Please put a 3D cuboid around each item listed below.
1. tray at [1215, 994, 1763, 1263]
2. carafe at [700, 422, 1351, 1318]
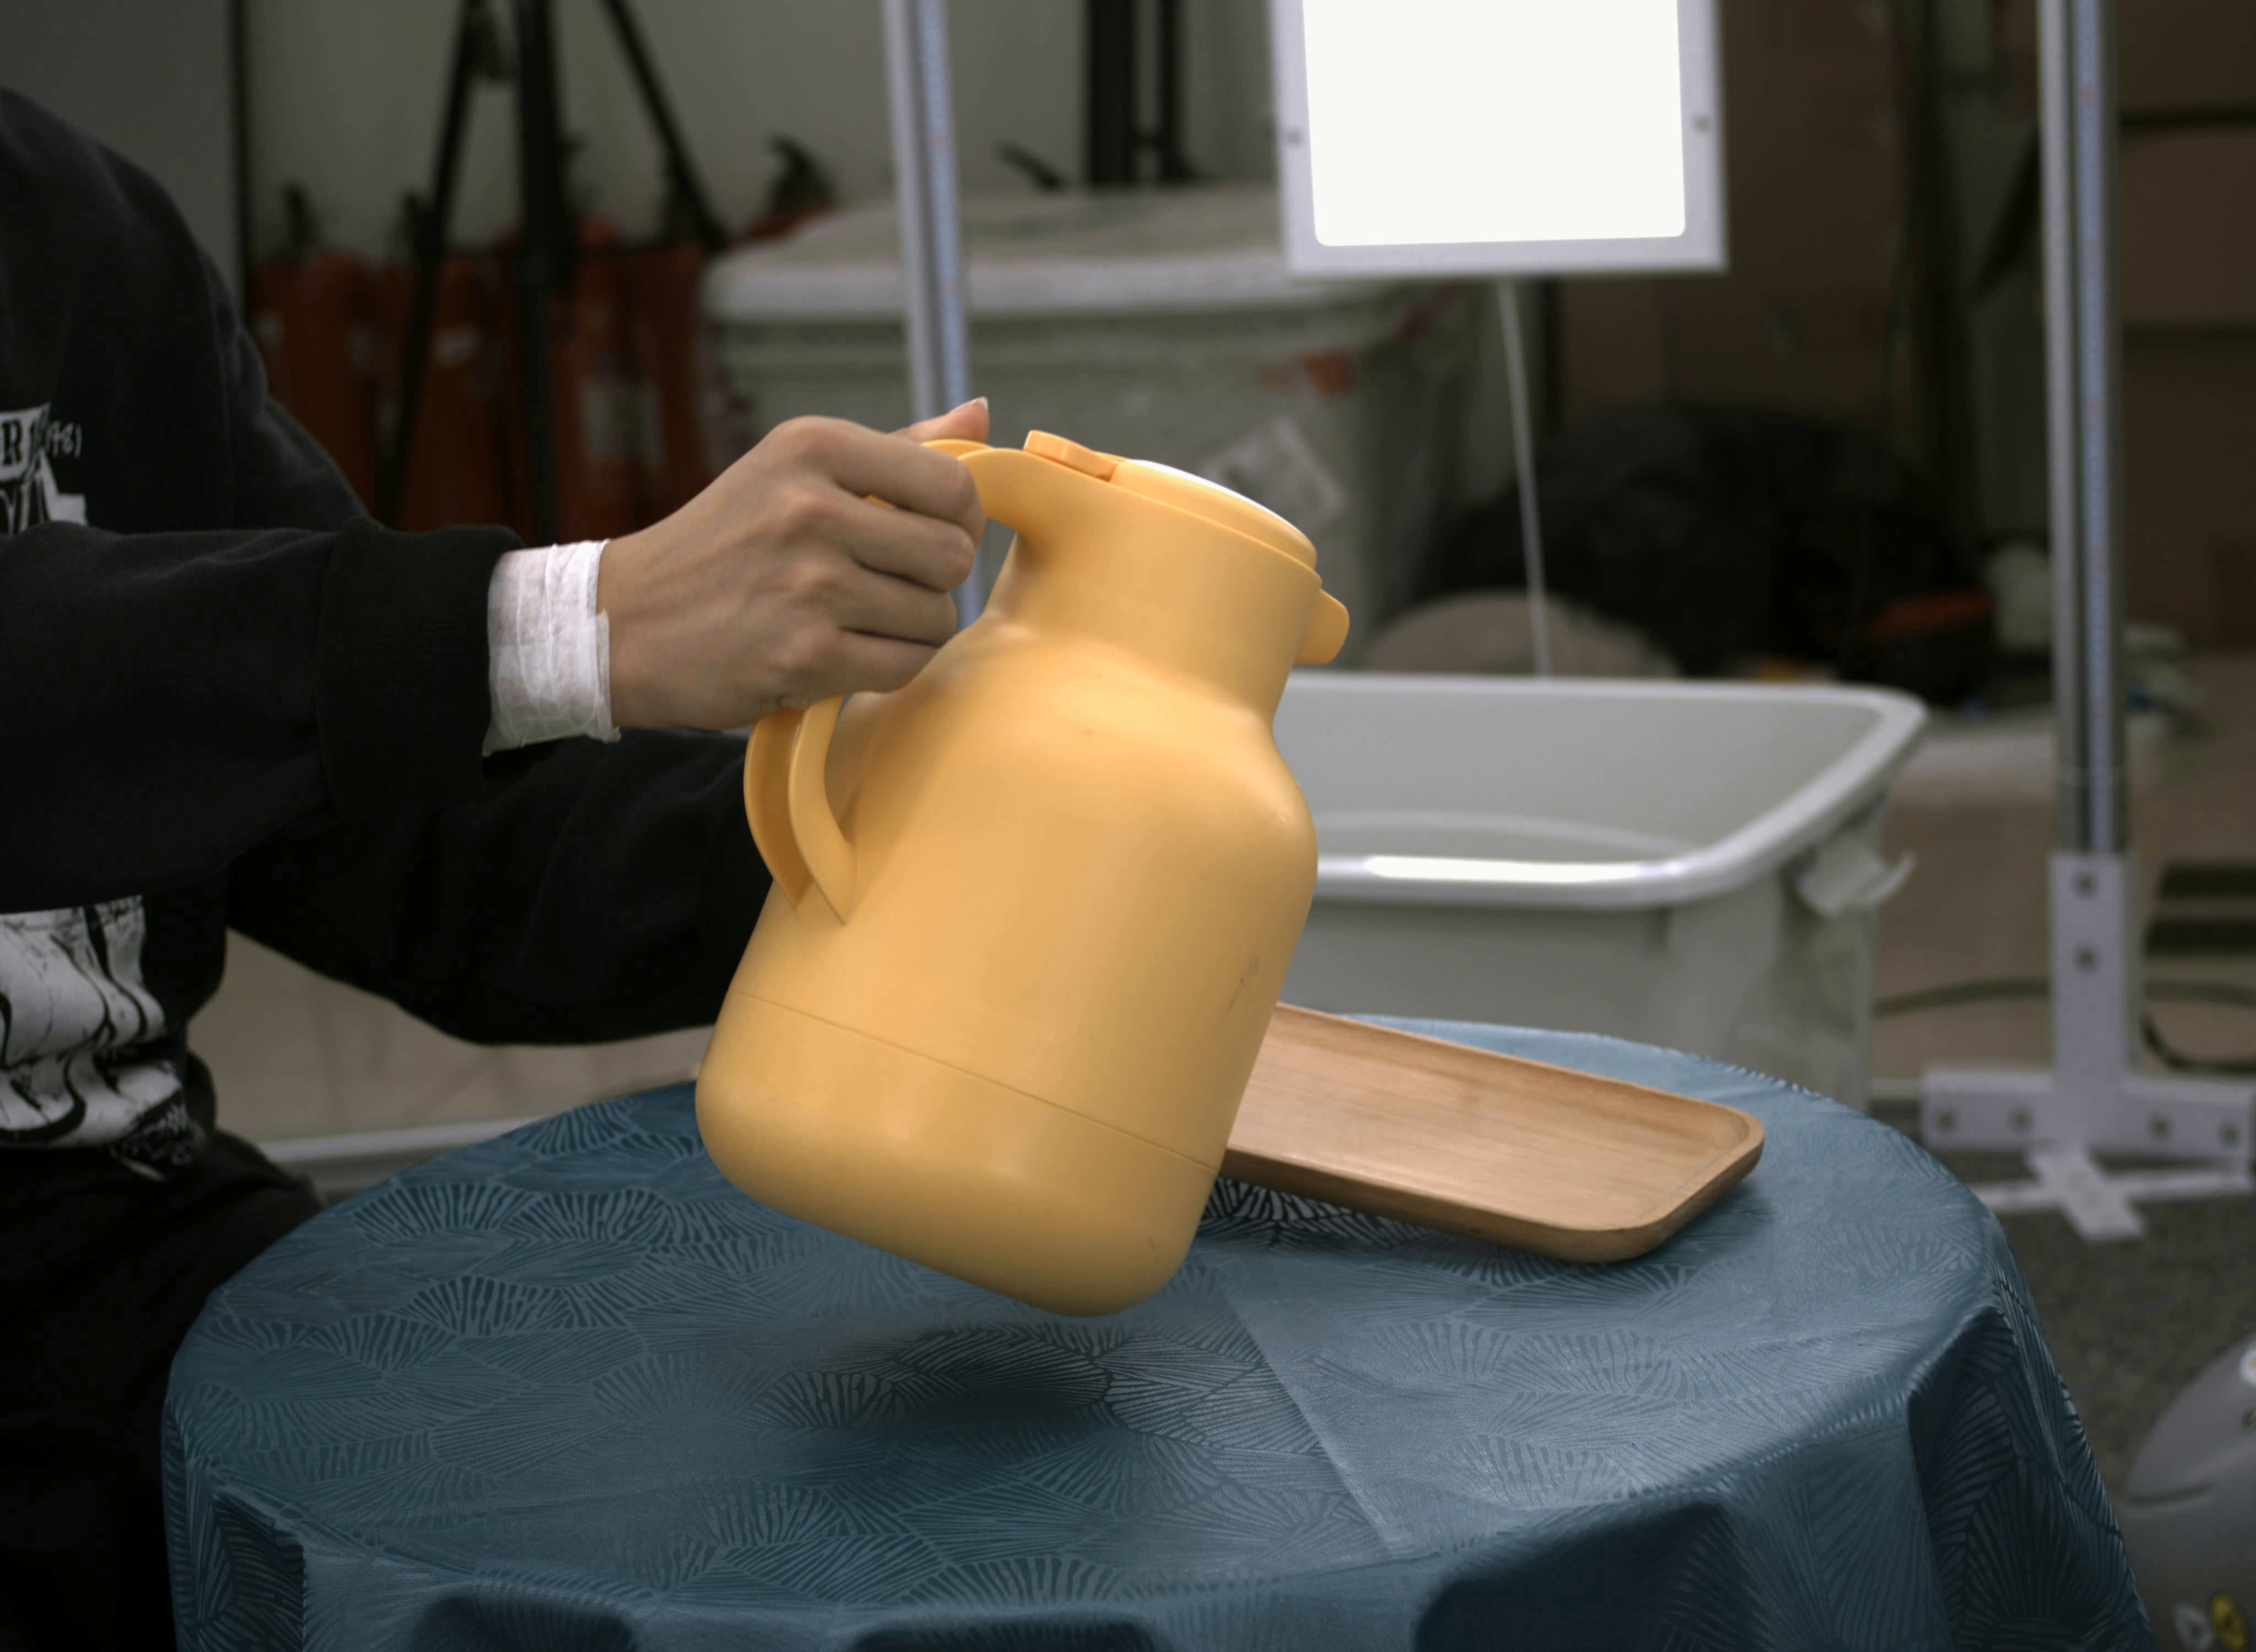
[{"bbox_3d":[0.086,0.099,1.875,0.255,0.023,0.127,12,20,32],"label":"tray"},{"bbox_3d":[-0.037,0.006,1.706,0.198,0.260,0.167,24,-8,-36],"label":"carafe"}]
